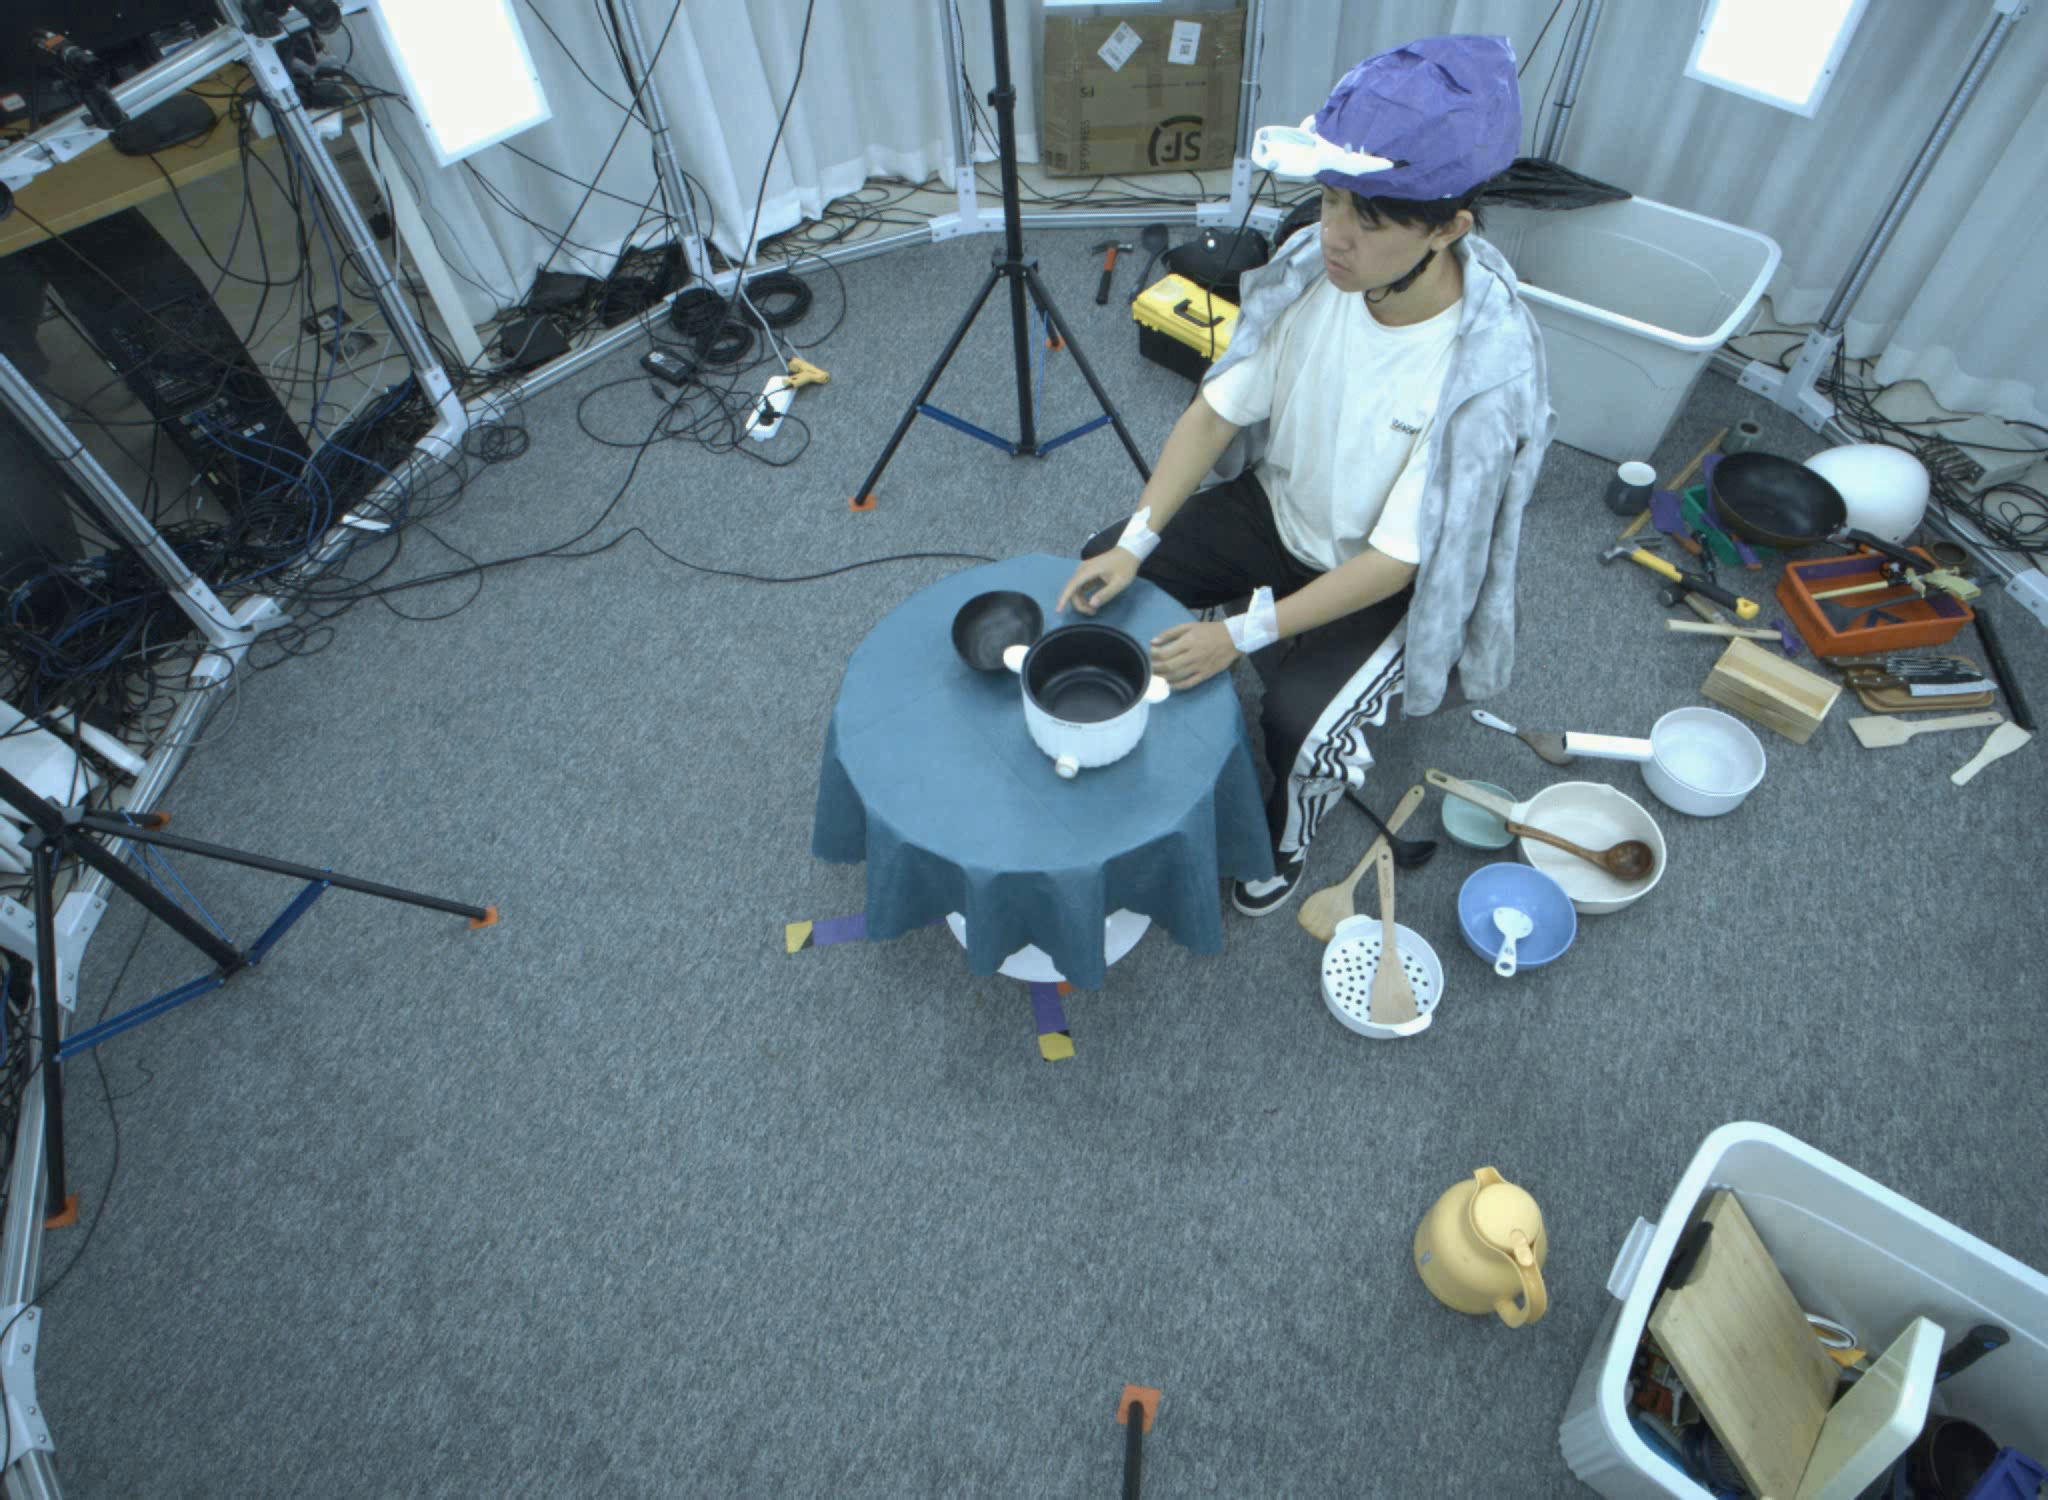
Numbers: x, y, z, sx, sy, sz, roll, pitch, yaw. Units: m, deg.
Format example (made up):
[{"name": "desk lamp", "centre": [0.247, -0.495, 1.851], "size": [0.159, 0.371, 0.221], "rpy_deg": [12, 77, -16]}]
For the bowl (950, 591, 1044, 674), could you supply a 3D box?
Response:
[{"name": "bowl", "centre": [-0.038, -0.172, 1.871], "size": [0.136, 0.067, 0.170], "rpy_deg": [13, 55, 11]}]

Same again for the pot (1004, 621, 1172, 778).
[{"name": "pot", "centre": [0.089, -0.067, 1.749], "size": [0.238, 0.144, 0.190], "rpy_deg": [13, 53, 12]}]
